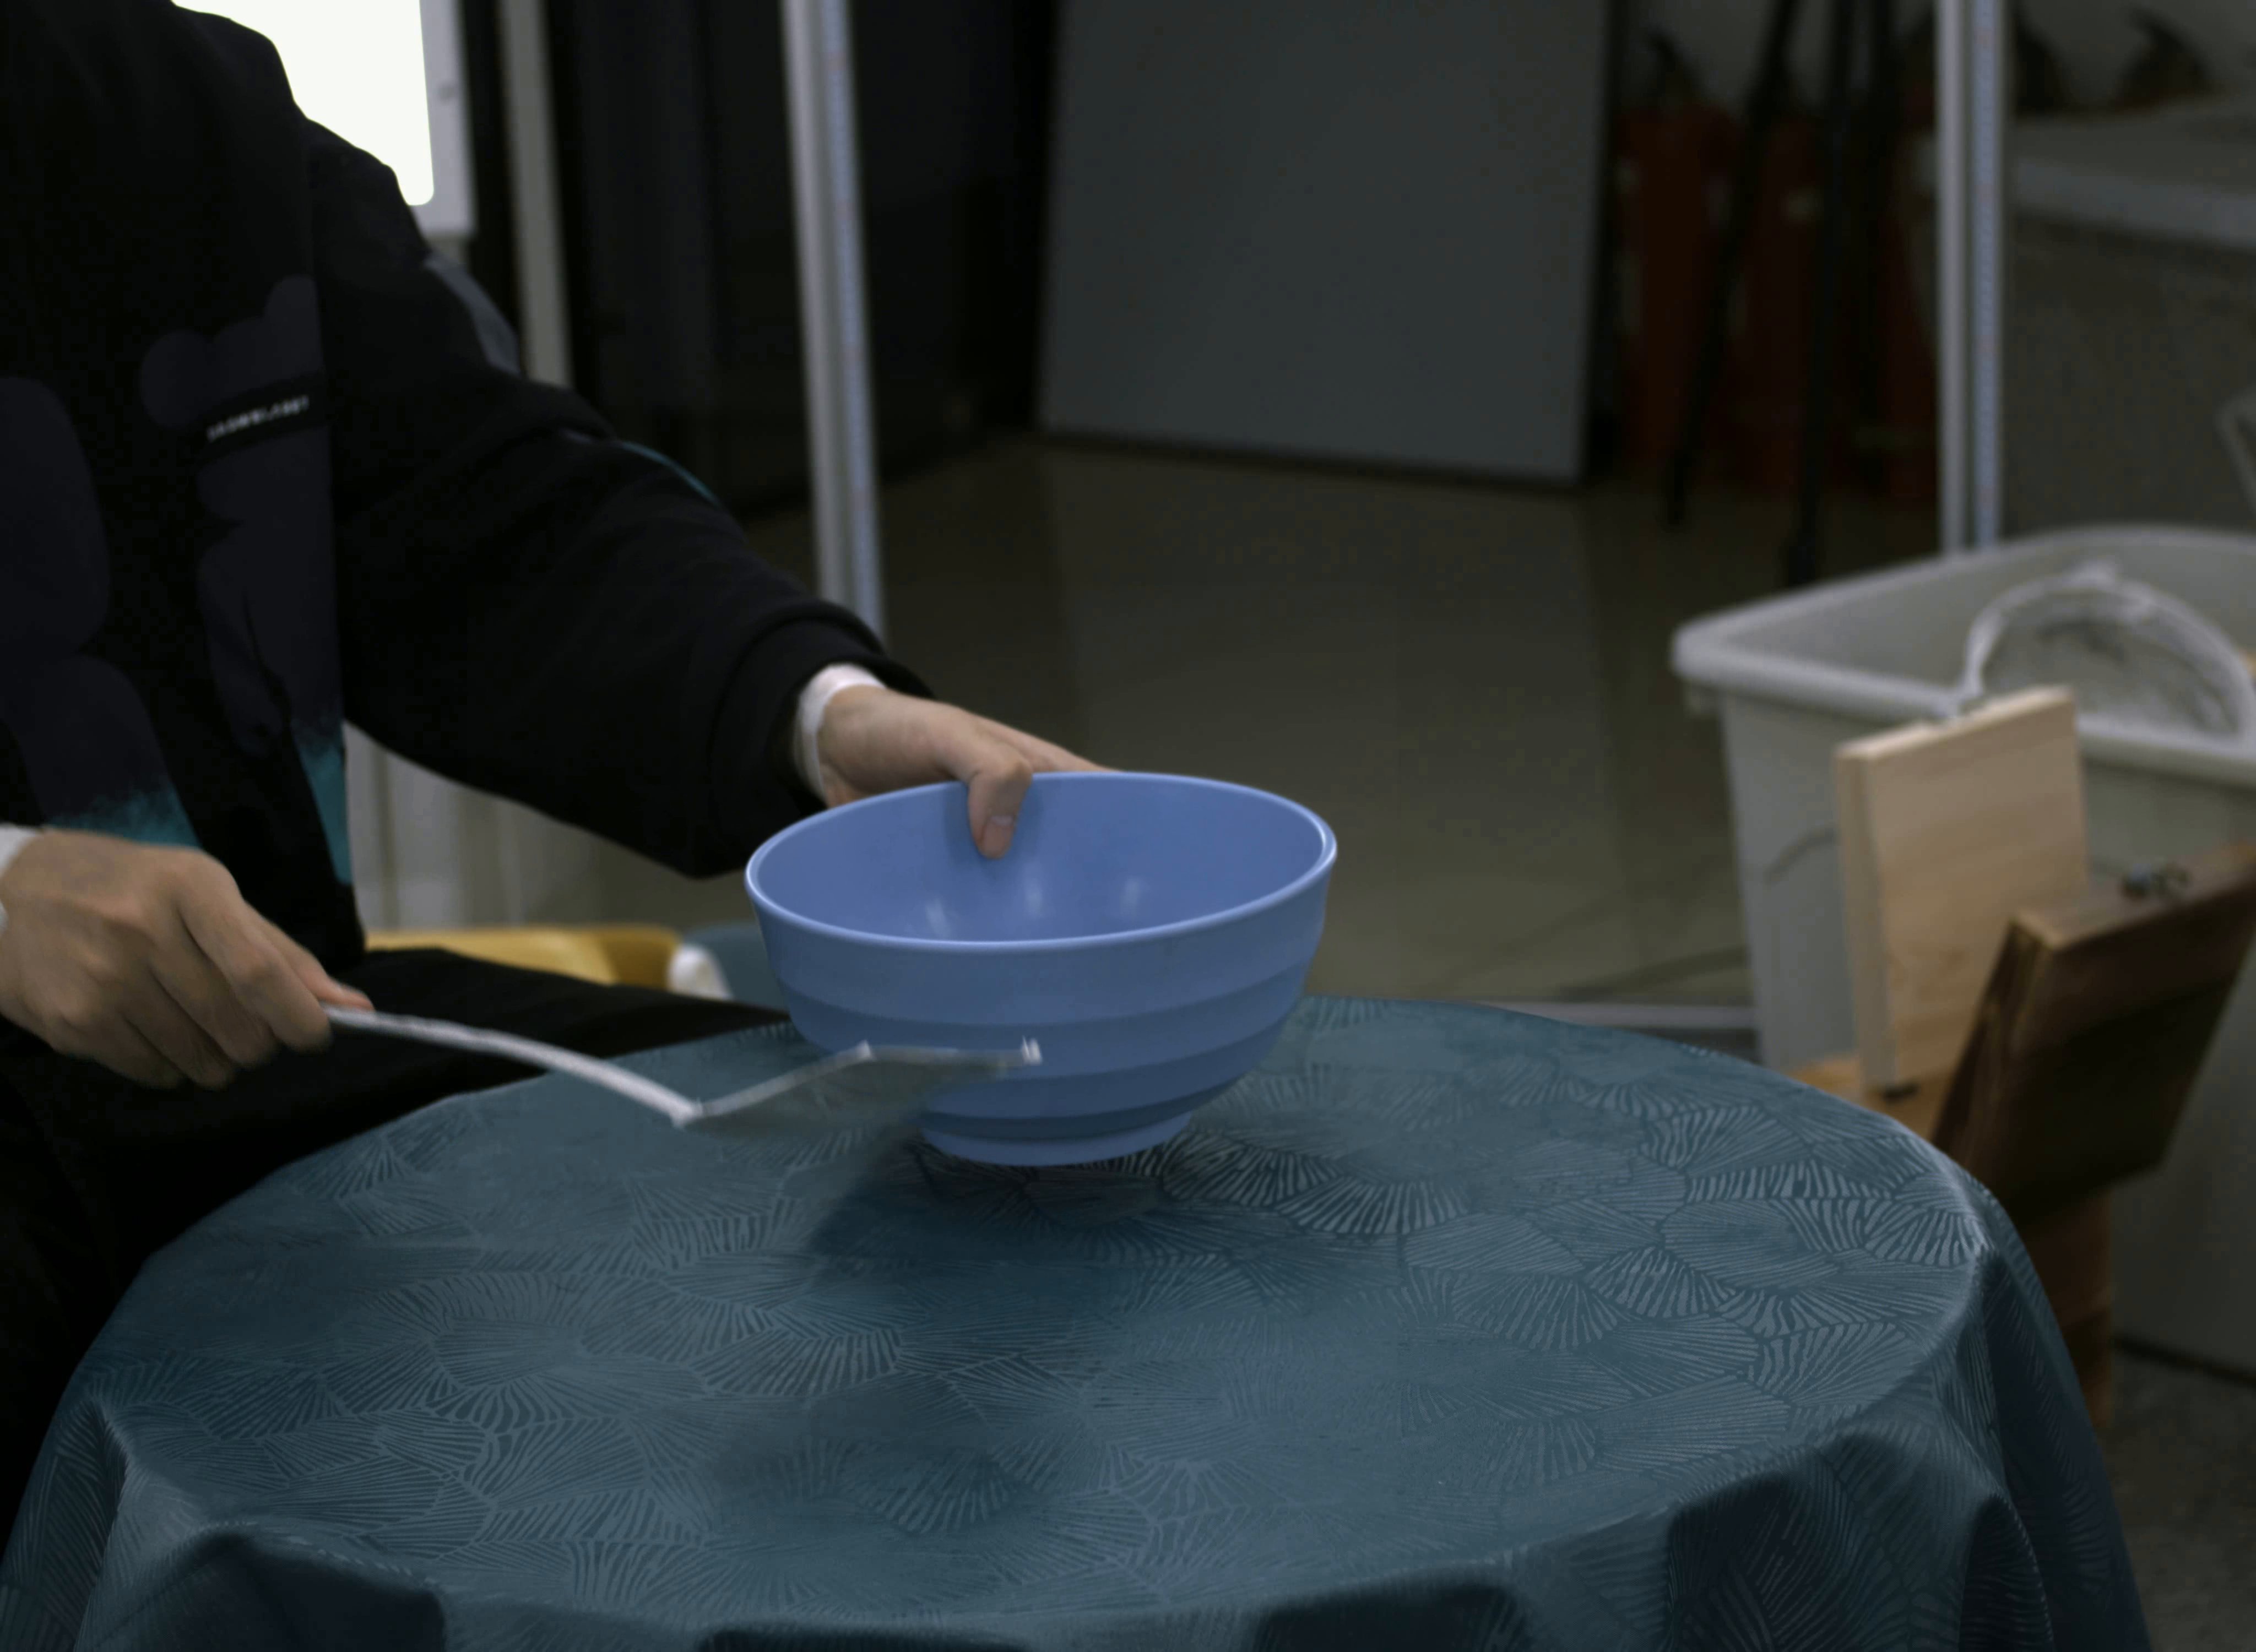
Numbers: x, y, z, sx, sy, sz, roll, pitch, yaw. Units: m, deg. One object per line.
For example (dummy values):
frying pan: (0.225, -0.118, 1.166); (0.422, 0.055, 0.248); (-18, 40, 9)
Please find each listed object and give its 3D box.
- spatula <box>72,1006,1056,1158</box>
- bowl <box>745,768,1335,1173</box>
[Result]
spatula: (-0.190, 0.067, 1.648); (0.367, 0.045, 0.097); (8, 2, 32)
bowl: (-0.026, 0.054, 1.779); (0.194, 0.096, 0.197); (-5, 17, 0)
